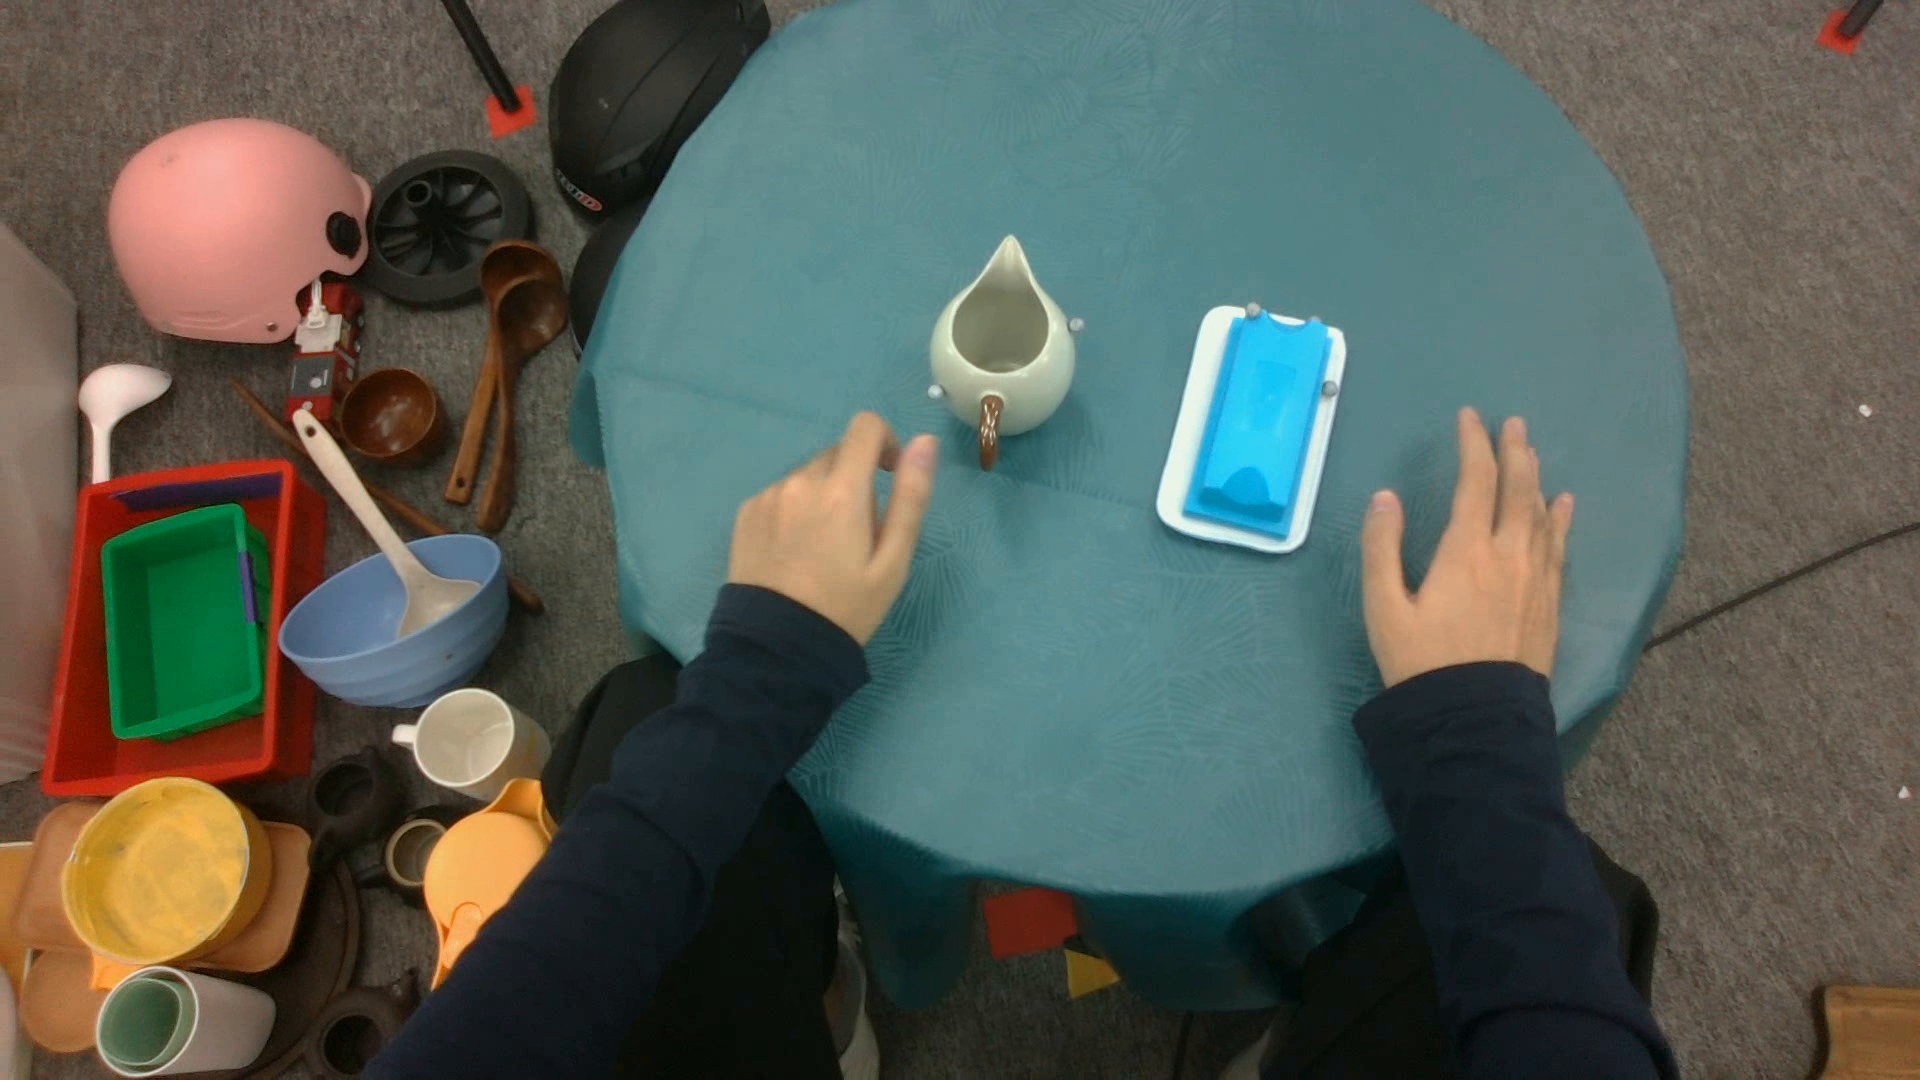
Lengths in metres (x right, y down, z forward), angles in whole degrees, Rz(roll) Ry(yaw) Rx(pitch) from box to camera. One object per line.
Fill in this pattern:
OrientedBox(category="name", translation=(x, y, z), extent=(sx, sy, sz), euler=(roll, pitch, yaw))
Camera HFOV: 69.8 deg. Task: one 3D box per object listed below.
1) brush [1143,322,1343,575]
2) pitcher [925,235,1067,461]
OrientedBox(category="brush", translation=(0.153, -0.056, 0.732), extent=(0.084, 0.056, 0.144), euler=(16, 68, 12))
OrientedBox(category="pitcher", translation=(0.018, -0.088, 0.736), extent=(0.076, 0.087, 0.119), euler=(9, 65, 12))
